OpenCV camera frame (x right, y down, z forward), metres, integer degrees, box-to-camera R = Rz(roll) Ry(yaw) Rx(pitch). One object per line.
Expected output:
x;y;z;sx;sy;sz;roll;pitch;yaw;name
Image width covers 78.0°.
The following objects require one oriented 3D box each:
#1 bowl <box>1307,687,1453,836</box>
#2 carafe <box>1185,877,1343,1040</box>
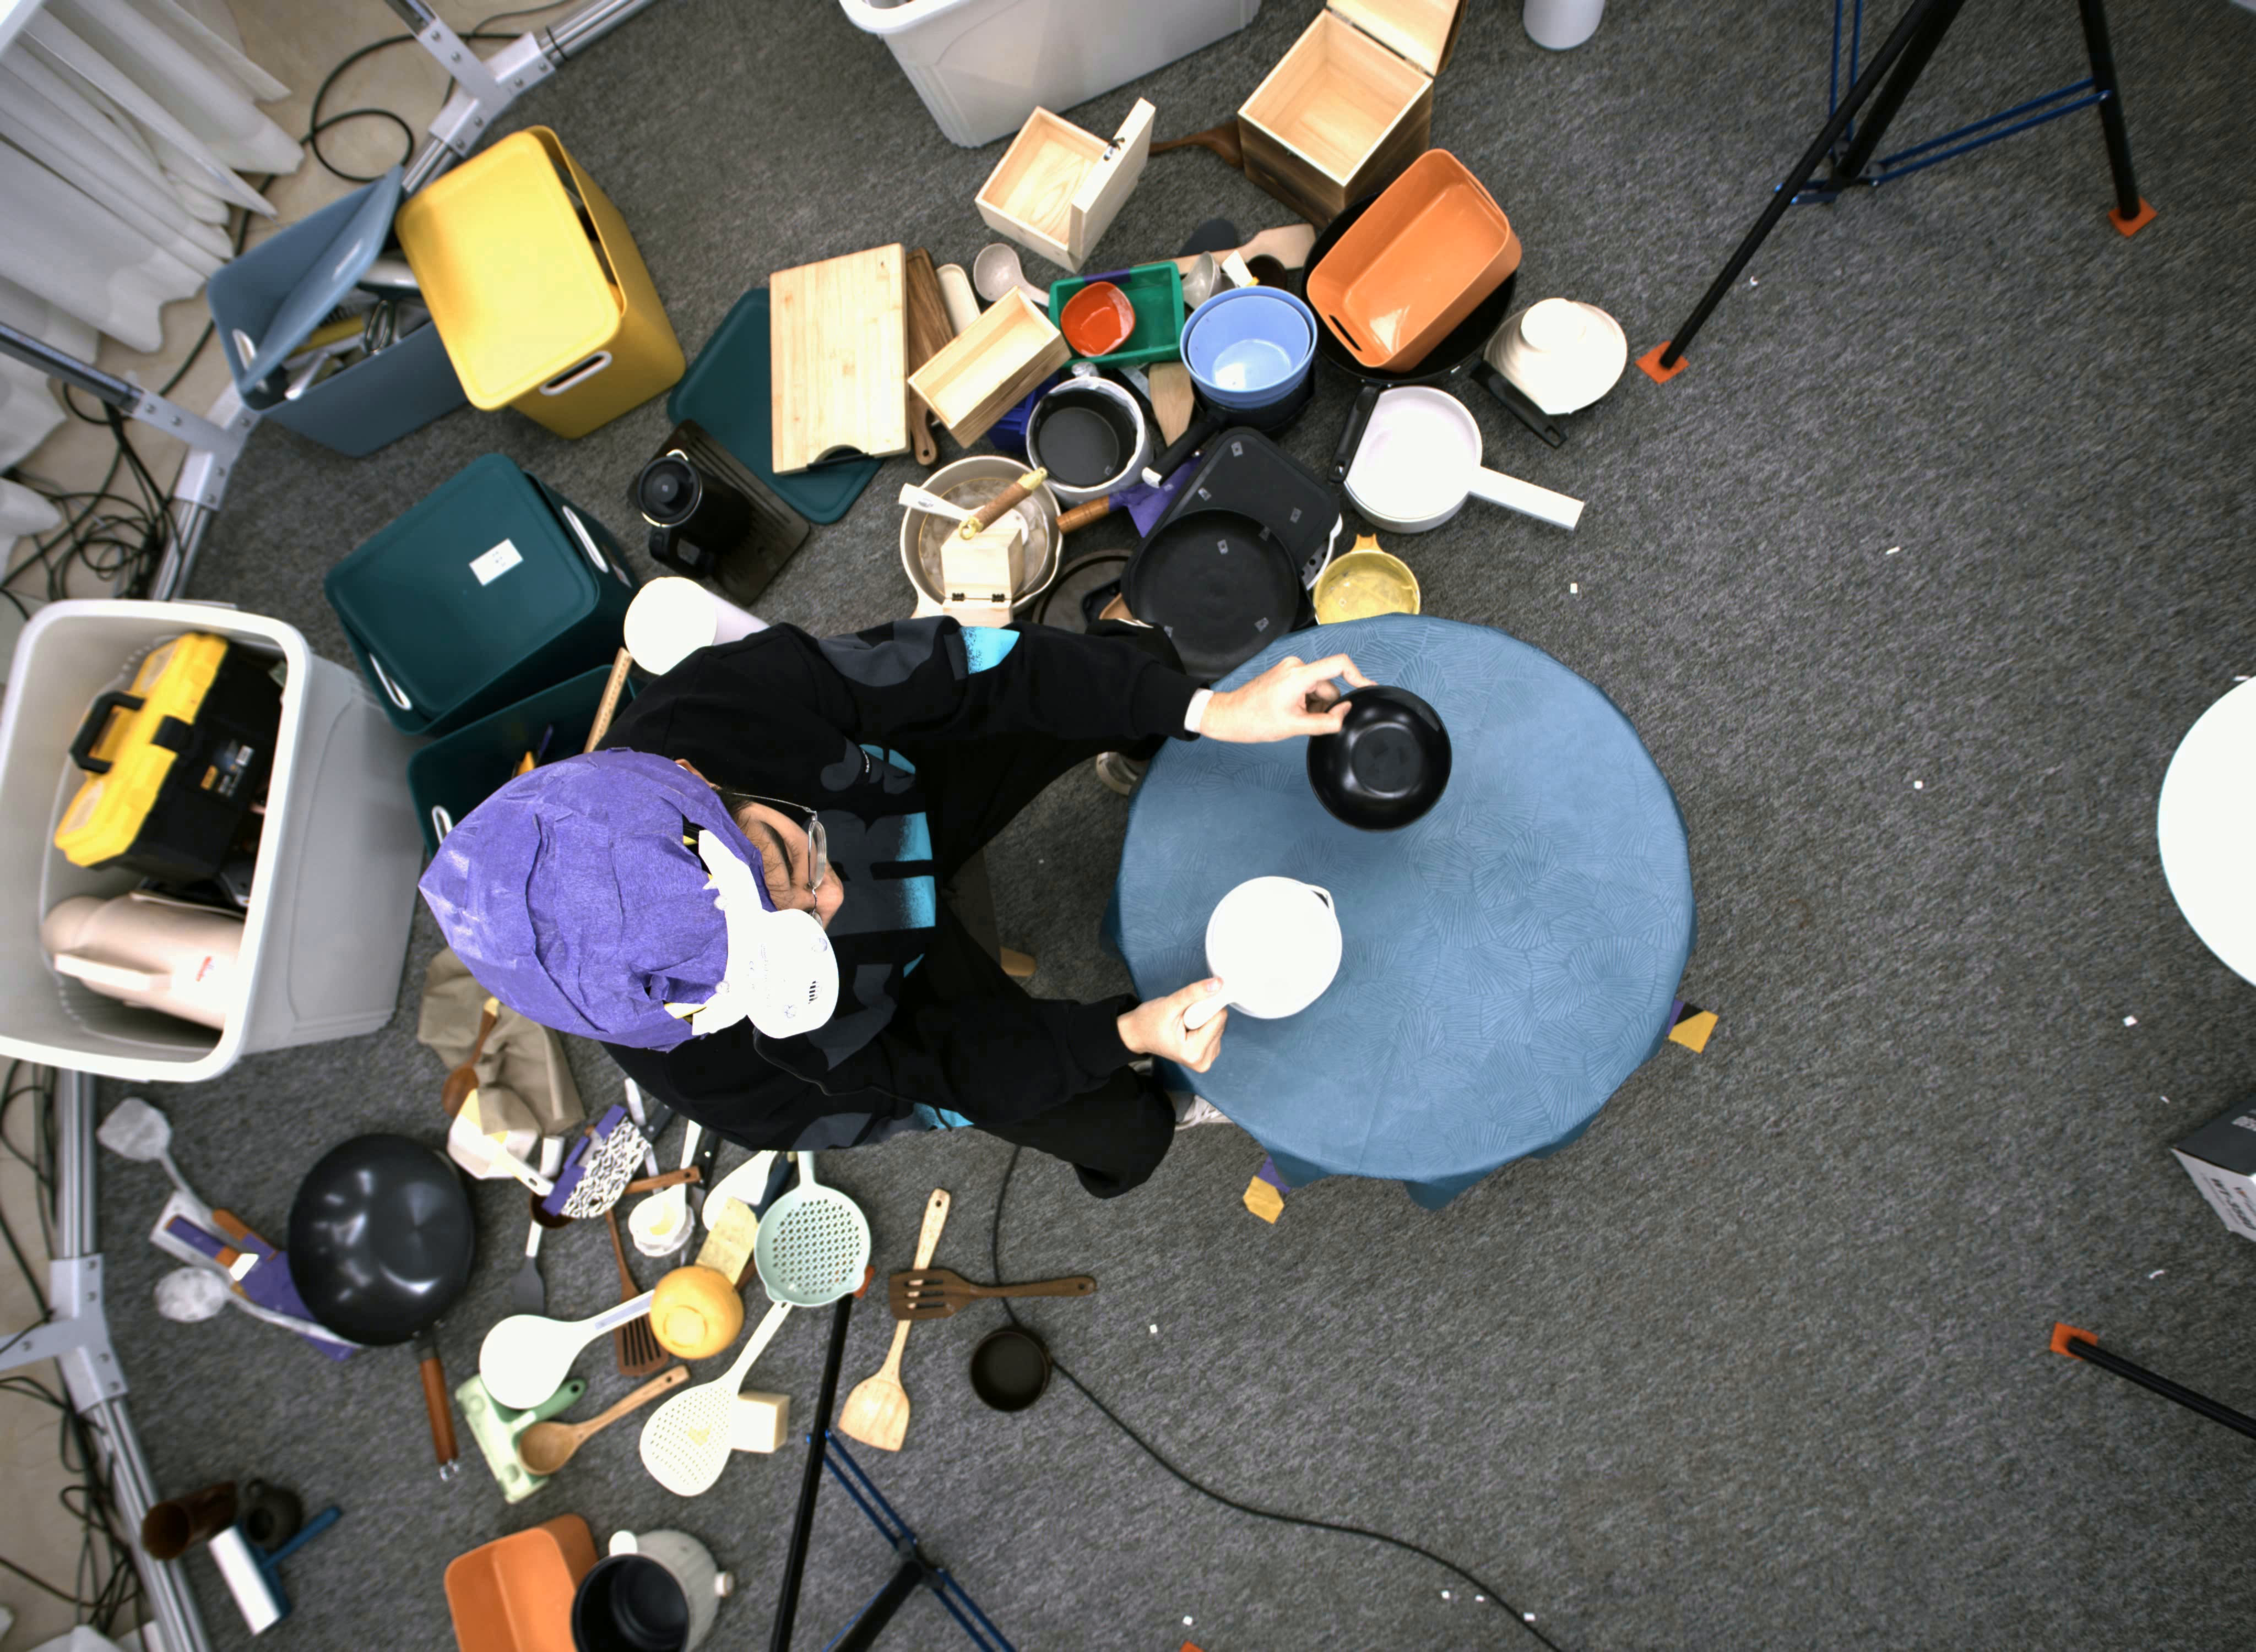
0.242;-0.063;1.298;0.141;0.049;0.141;4;99;27;bowl
0.125;0.138;1.369;0.191;0.183;0.131;-44;80;-1;carafe
